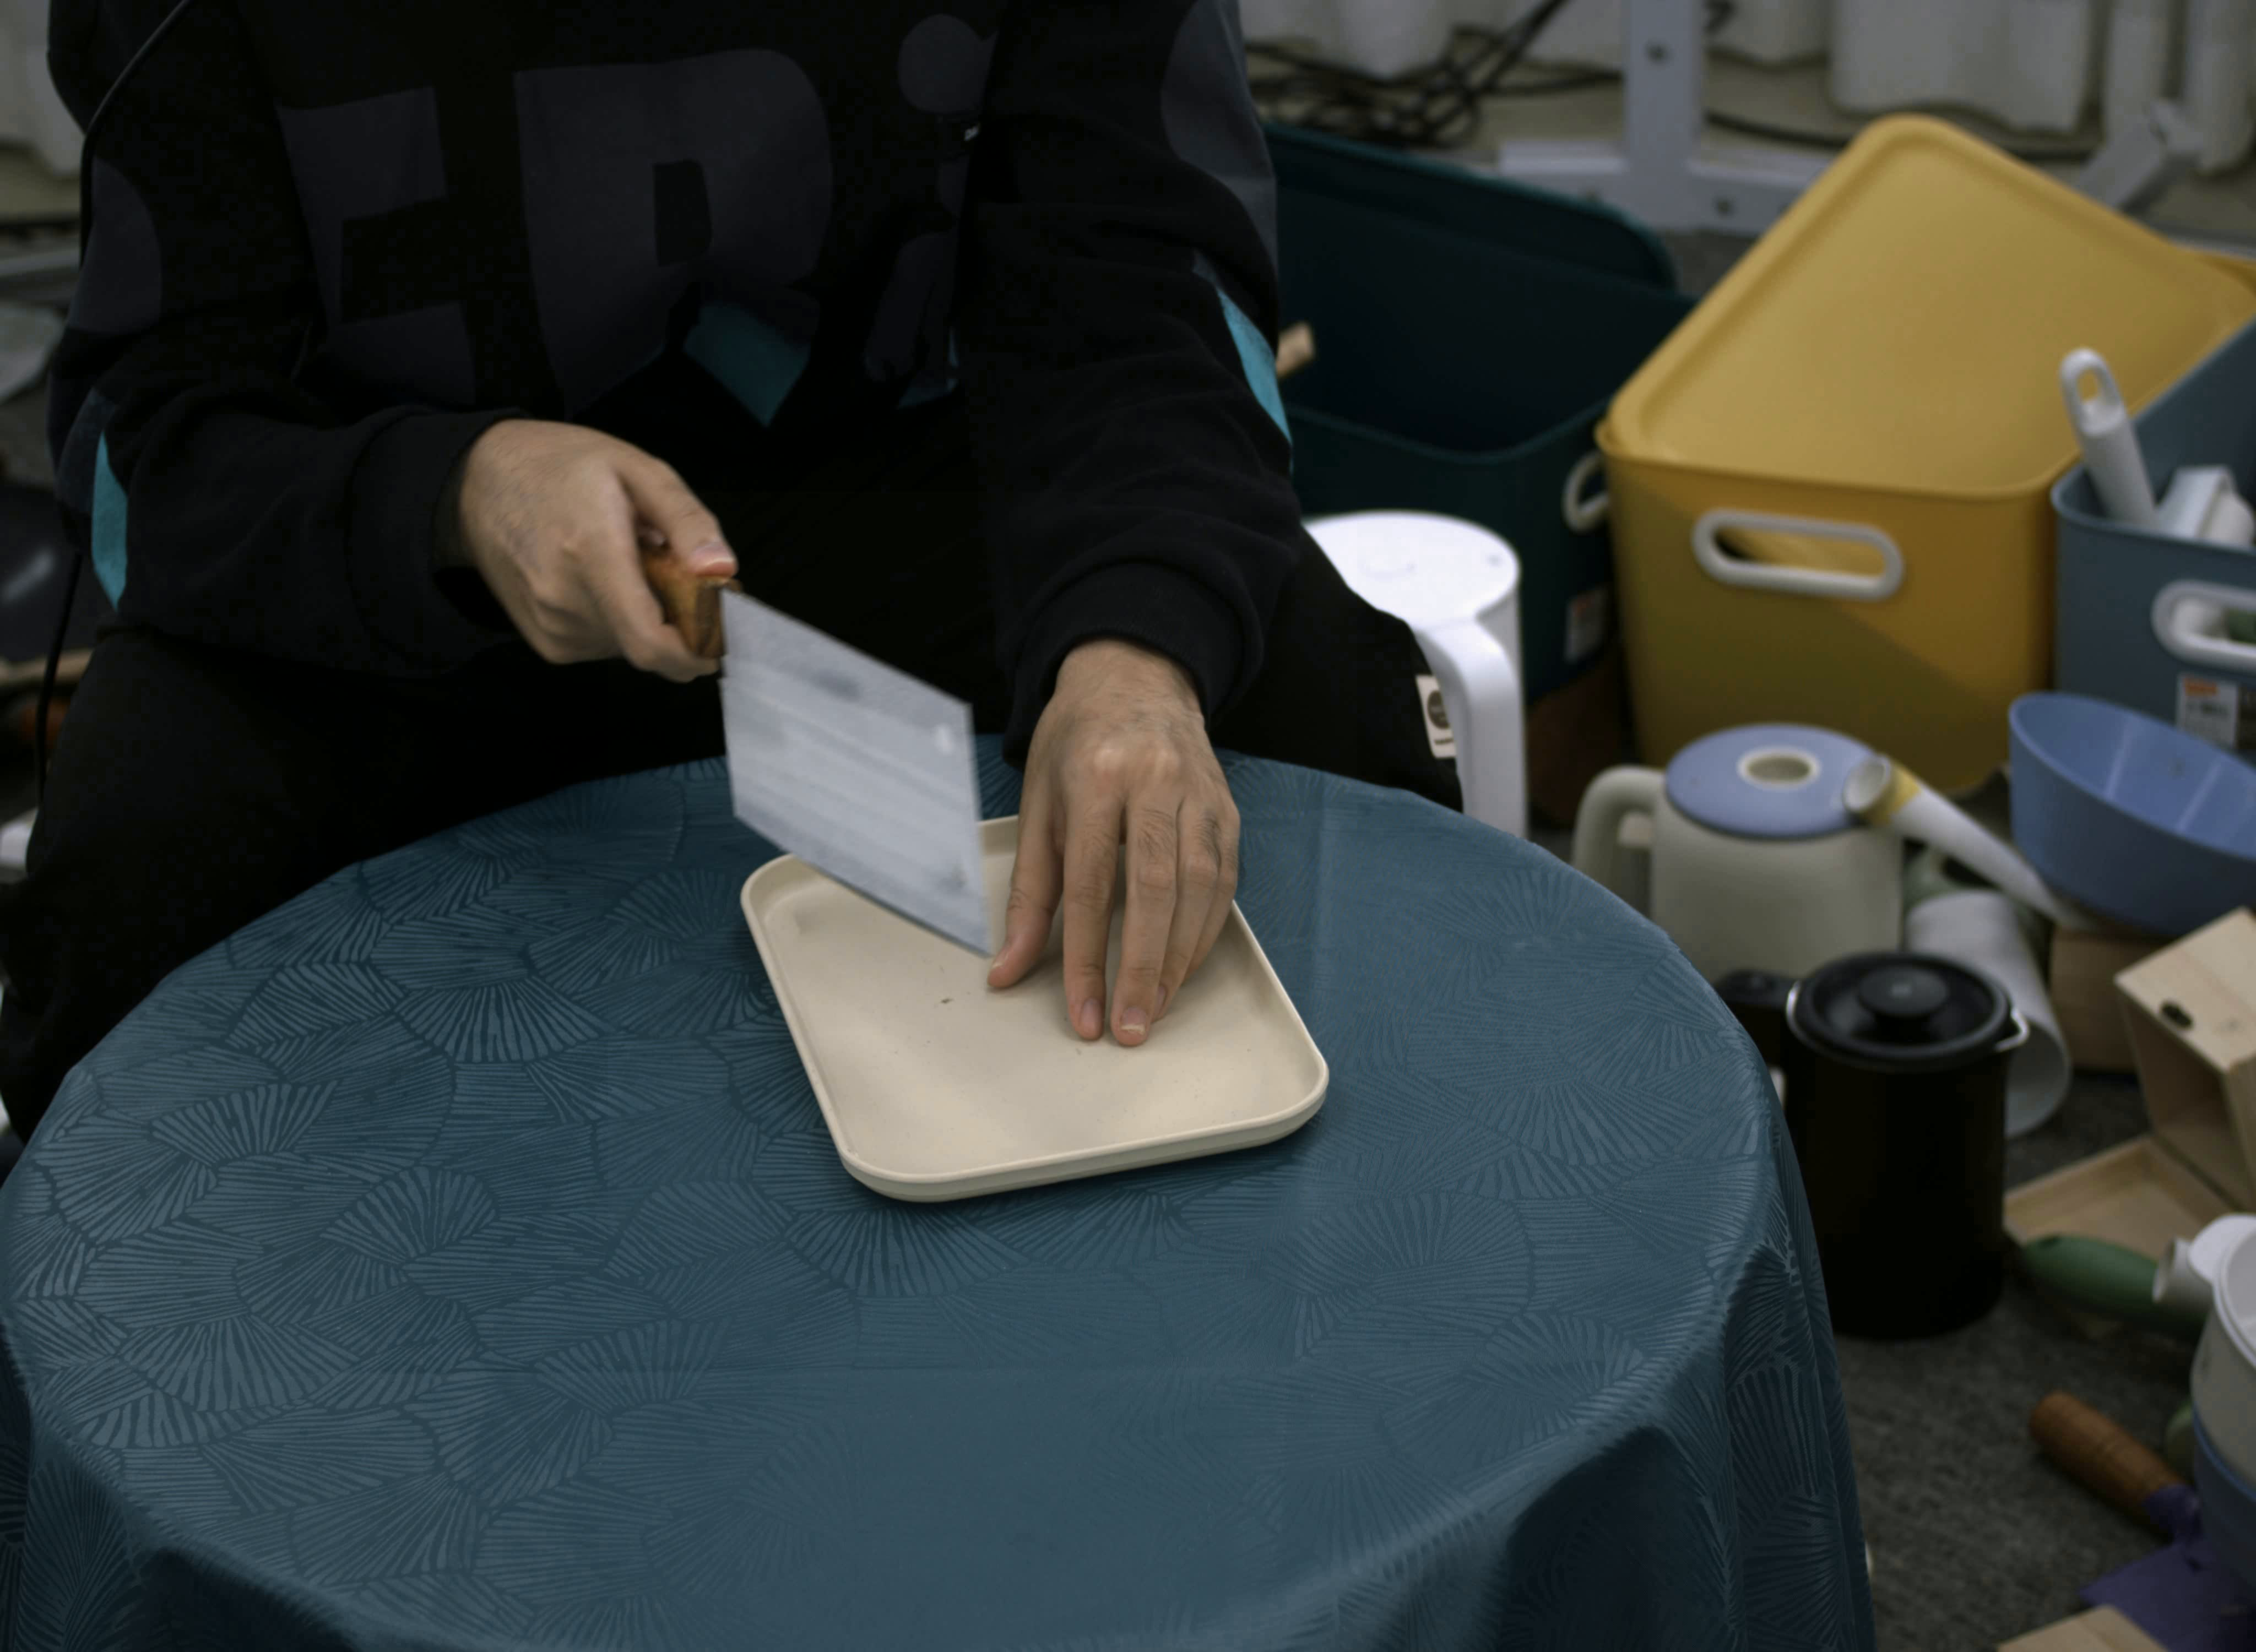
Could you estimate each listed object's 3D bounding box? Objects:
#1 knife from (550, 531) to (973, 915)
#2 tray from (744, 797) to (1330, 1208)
[{"bbox_3d":[-0.128,-0.035,1.953,0.021,0.092,0.306,-14,21,-27],"label":"knife"},{"bbox_3d":[-0.035,0.060,1.962,0.171,0.017,0.242,-10,29,-10],"label":"tray"}]
